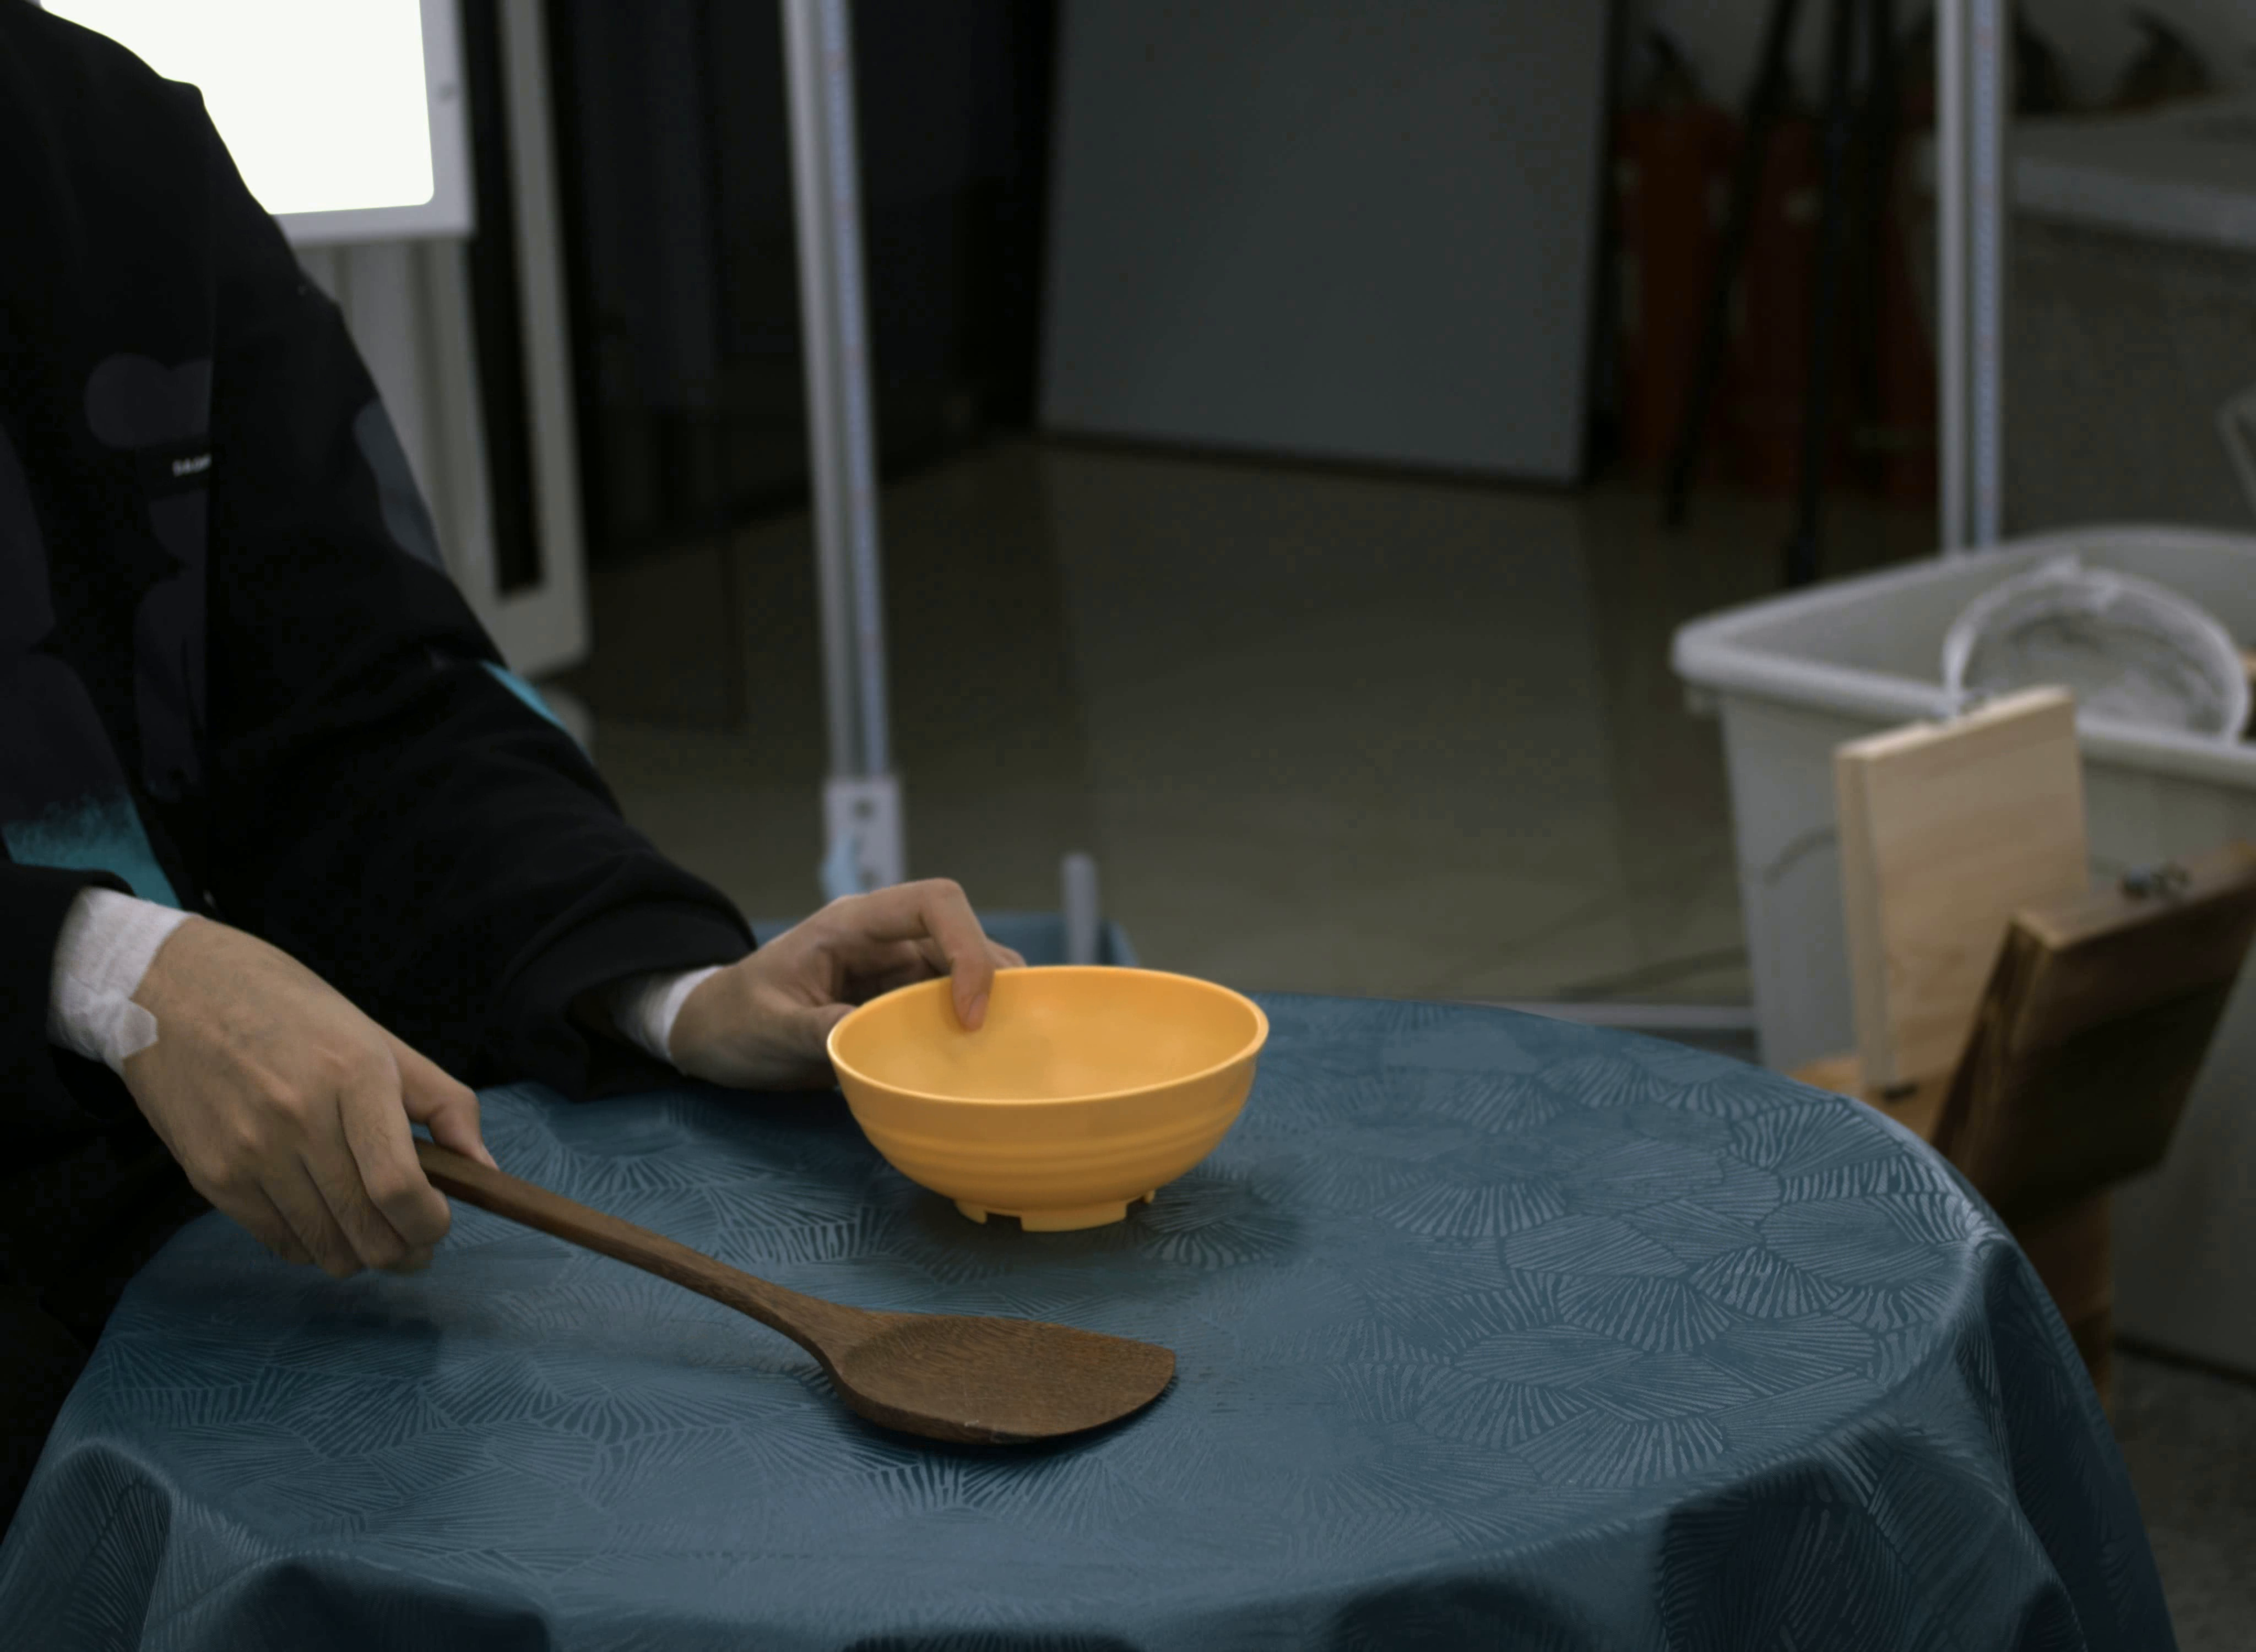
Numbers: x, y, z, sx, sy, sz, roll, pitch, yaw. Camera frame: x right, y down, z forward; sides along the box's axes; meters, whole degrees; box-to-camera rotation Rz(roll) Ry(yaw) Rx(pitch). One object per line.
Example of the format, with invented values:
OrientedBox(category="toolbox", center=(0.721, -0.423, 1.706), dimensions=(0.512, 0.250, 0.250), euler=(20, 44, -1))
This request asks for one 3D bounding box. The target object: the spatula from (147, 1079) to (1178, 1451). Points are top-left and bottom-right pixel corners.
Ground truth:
OrientedBox(category="spatula", center=(-0.157, 0.129, 1.659), dimensions=(0.388, 0.016, 0.094), euler=(16, 20, 32))

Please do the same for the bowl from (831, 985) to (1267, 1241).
OrientedBox(category="bowl", center=(-0.025, 0.097, 1.757), dimensions=(0.143, 0.061, 0.145), euler=(-3, 13, 0))
